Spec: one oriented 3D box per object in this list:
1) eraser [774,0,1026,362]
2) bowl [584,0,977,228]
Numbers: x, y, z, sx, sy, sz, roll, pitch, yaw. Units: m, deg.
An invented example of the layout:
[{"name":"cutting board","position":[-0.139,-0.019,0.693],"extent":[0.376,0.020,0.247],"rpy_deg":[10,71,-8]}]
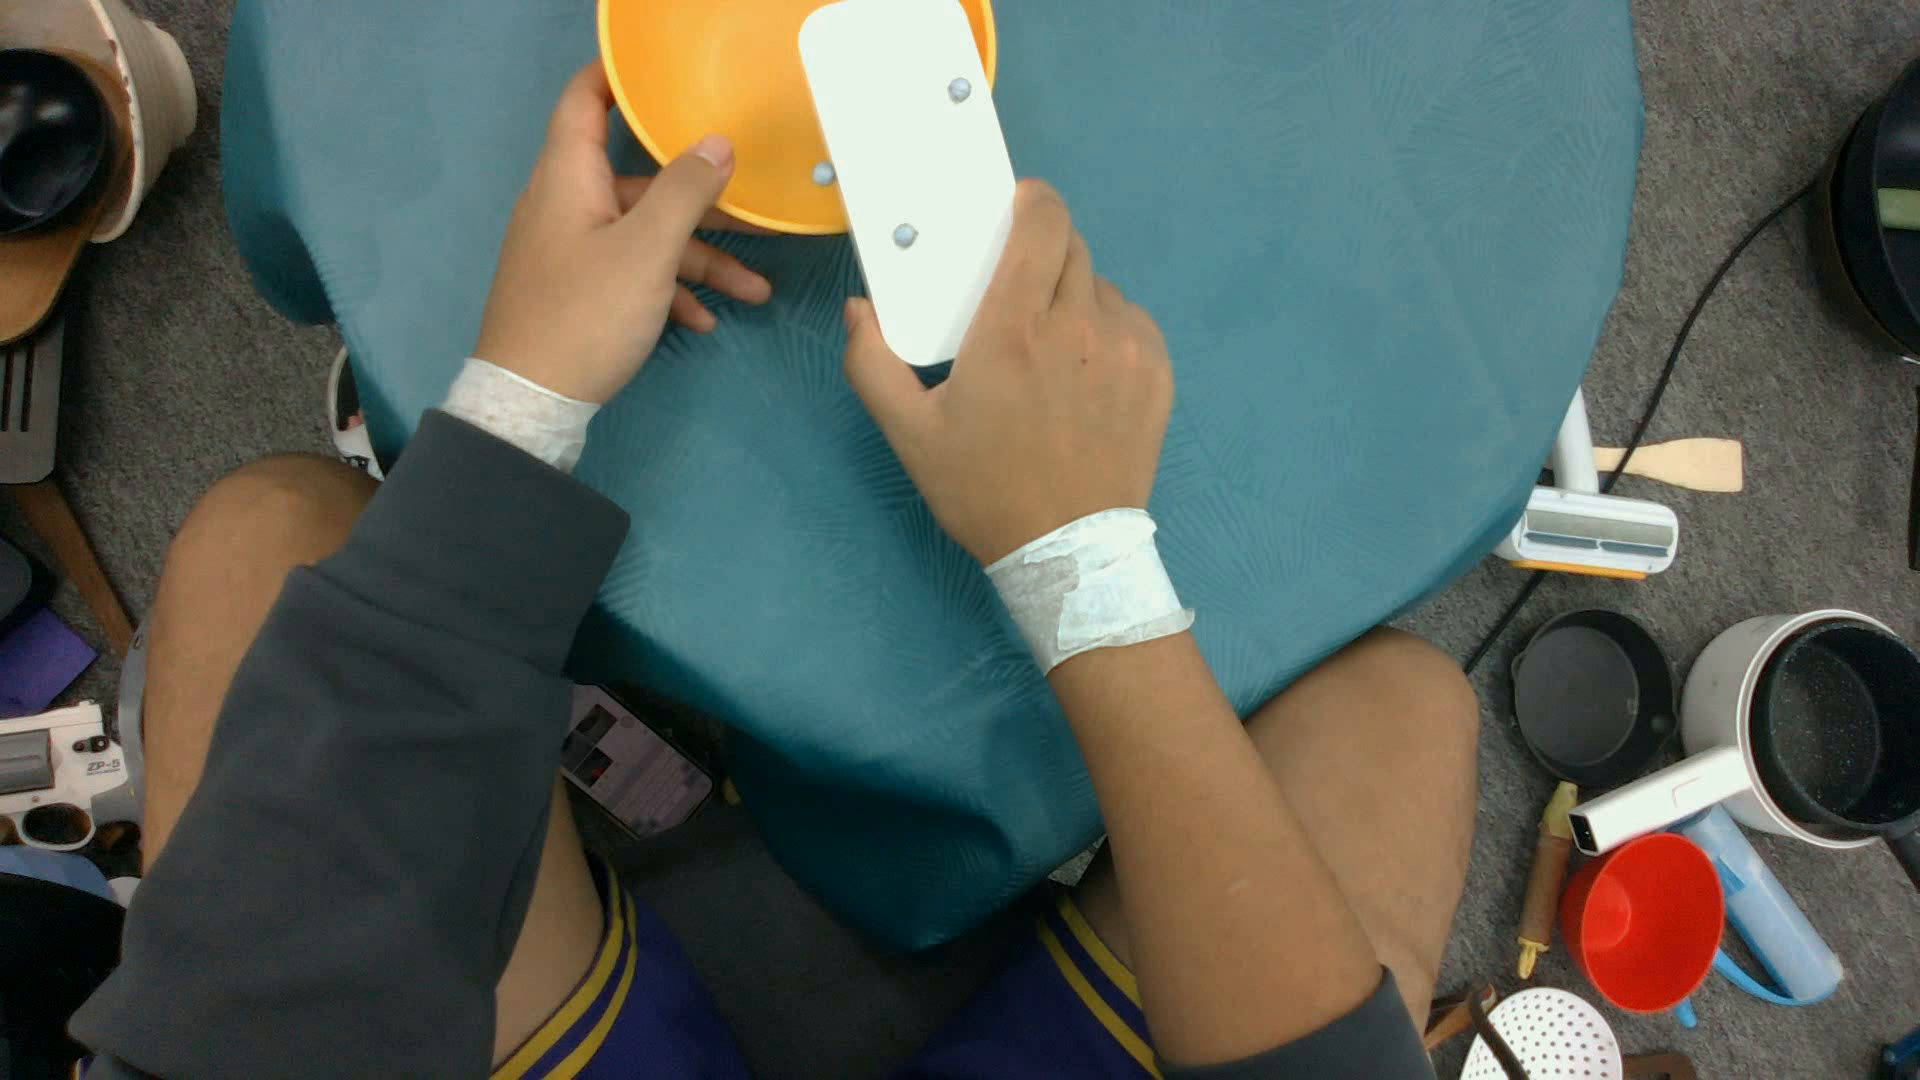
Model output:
[{"name":"eraser","position":[-0.023,-0.131,0.499],"extent":[0.063,0.034,0.131],"rpy_deg":[-18,89,-12]},{"name":"bowl","position":[-0.070,-0.188,0.537],"extent":[0.145,0.060,0.145],"rpy_deg":[0,90,-12]}]
